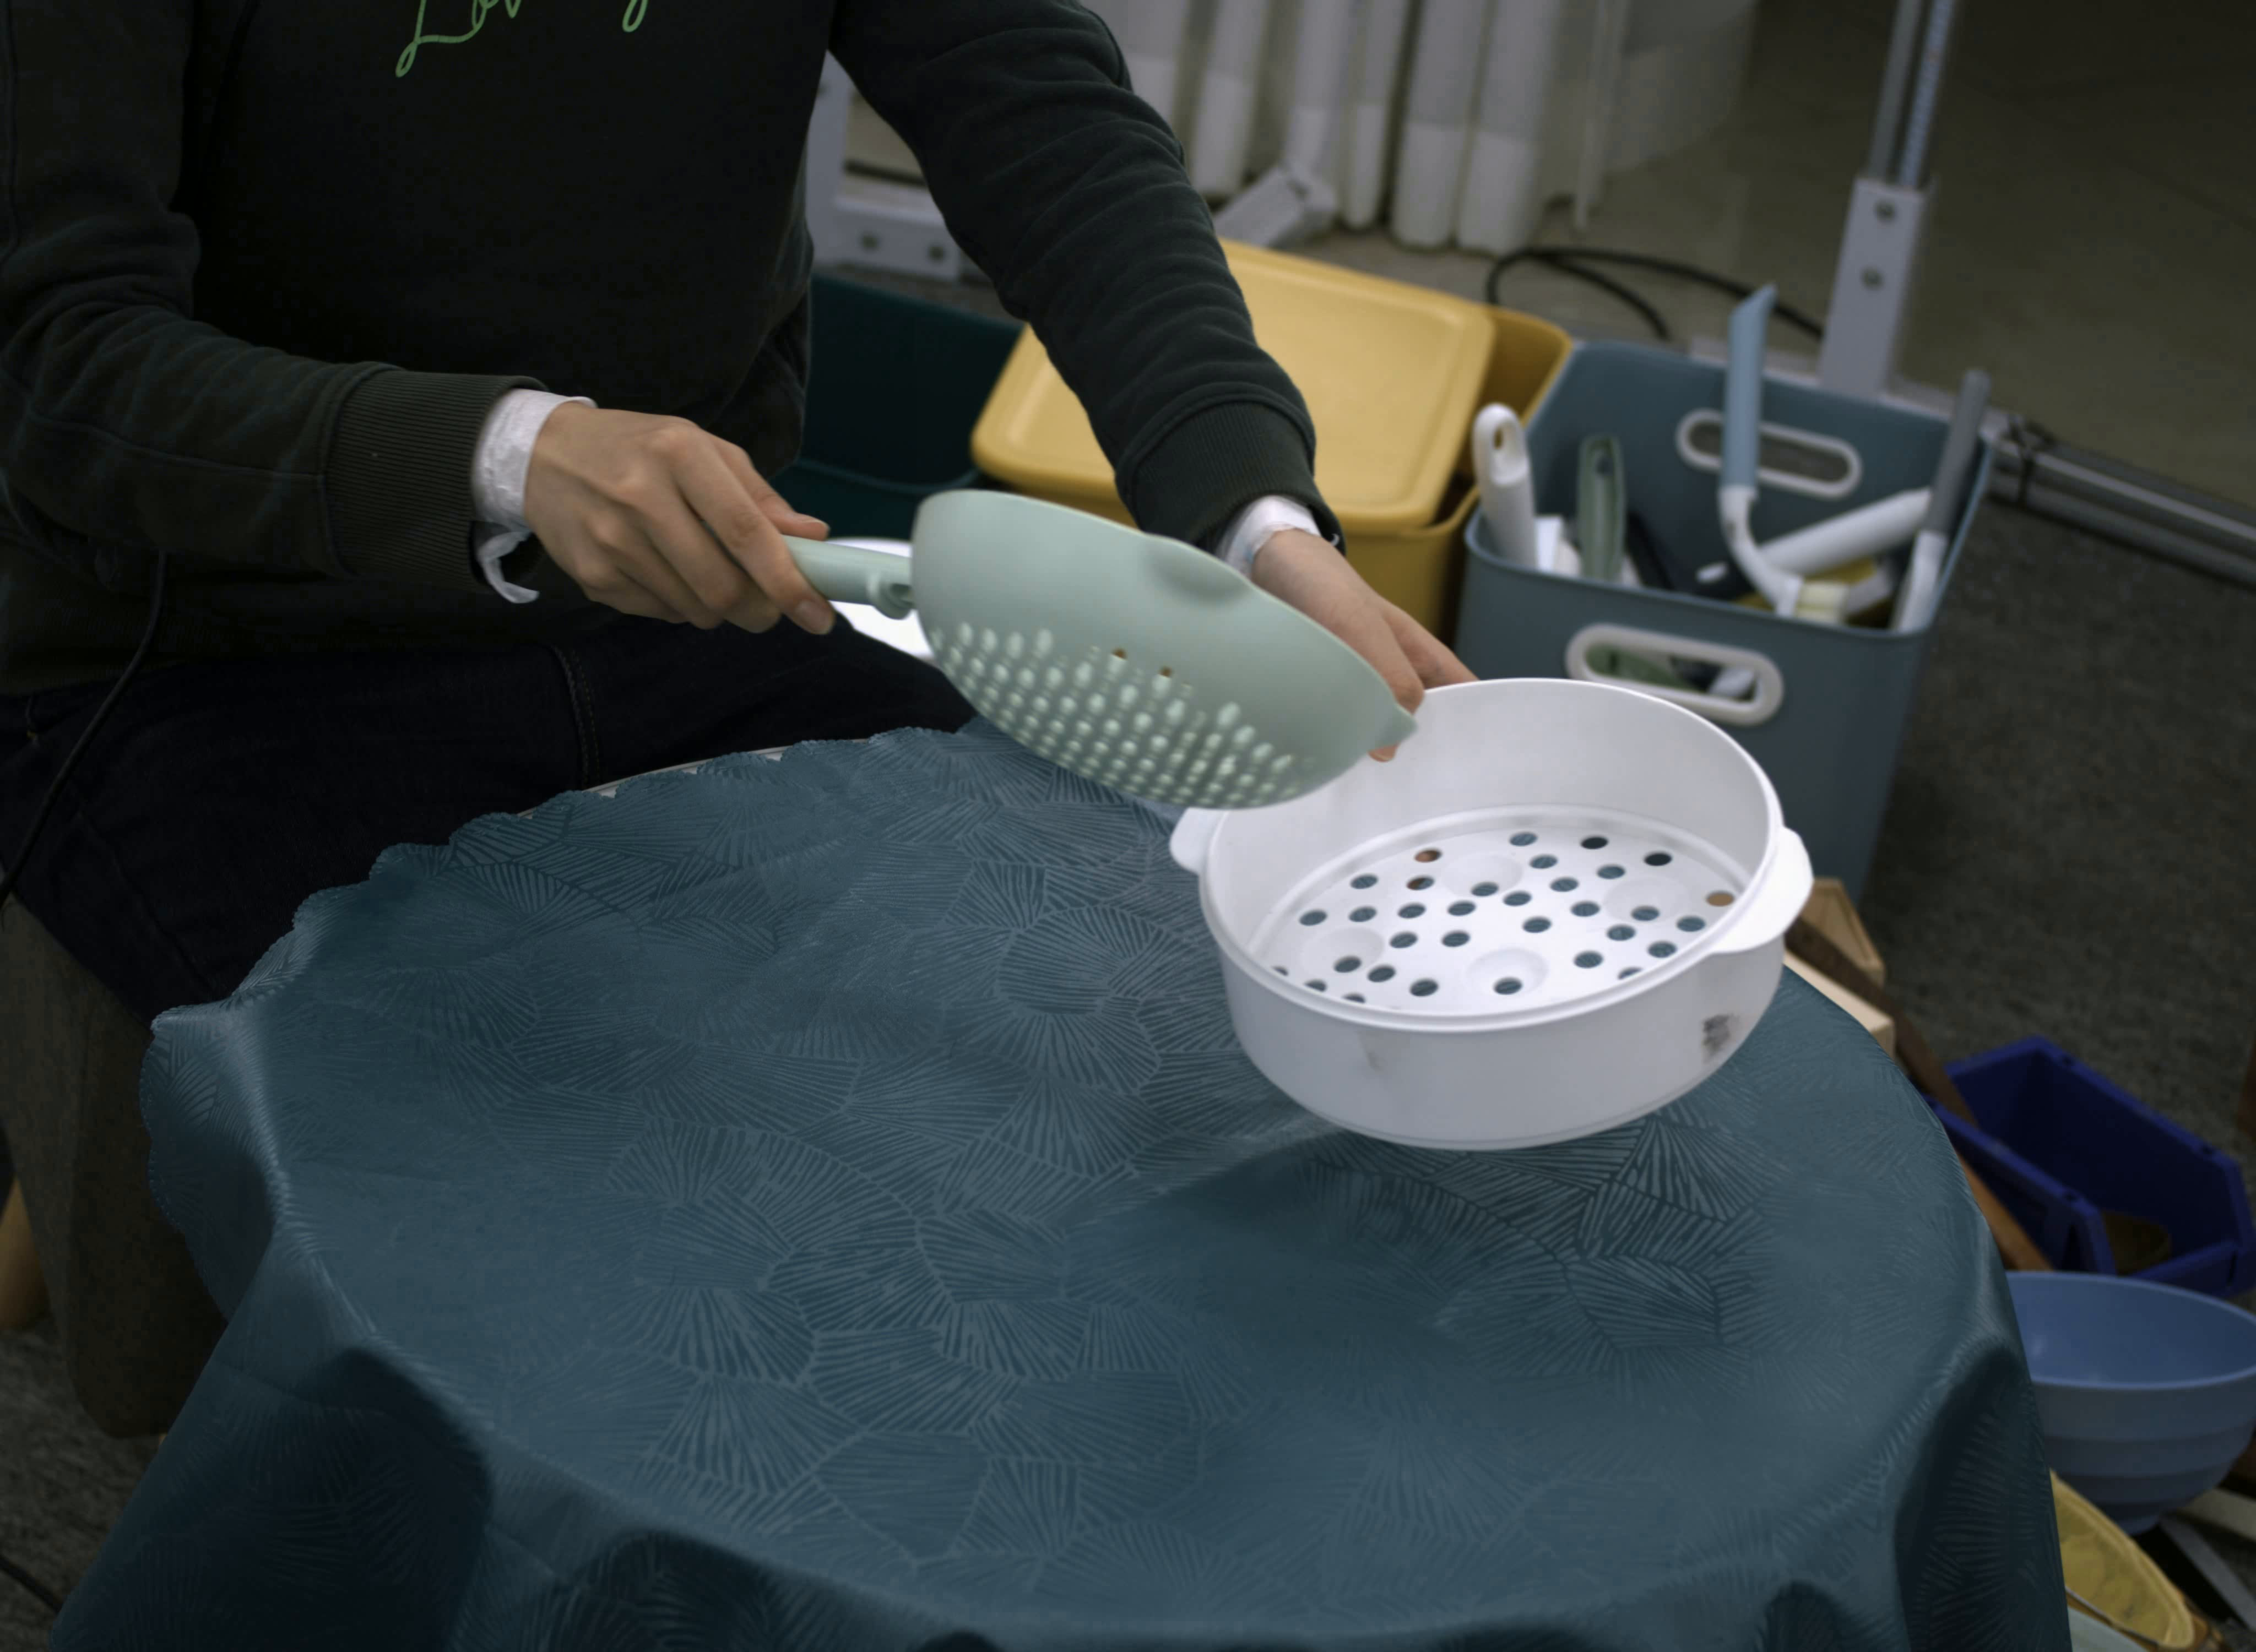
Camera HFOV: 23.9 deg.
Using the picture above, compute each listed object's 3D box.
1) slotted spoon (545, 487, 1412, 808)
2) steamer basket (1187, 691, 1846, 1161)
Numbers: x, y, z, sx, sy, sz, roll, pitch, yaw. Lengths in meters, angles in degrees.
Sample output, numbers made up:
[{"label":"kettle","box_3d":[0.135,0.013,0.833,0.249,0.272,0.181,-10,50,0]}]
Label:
[{"label":"slotted spoon","box_3d":[-0.070,-0.074,1.797,0.361,0.075,0.167,21,-12,44]},{"label":"steamer basket","box_3d":[0.134,0.034,1.827,0.231,0.069,0.202,7,37,25]}]
